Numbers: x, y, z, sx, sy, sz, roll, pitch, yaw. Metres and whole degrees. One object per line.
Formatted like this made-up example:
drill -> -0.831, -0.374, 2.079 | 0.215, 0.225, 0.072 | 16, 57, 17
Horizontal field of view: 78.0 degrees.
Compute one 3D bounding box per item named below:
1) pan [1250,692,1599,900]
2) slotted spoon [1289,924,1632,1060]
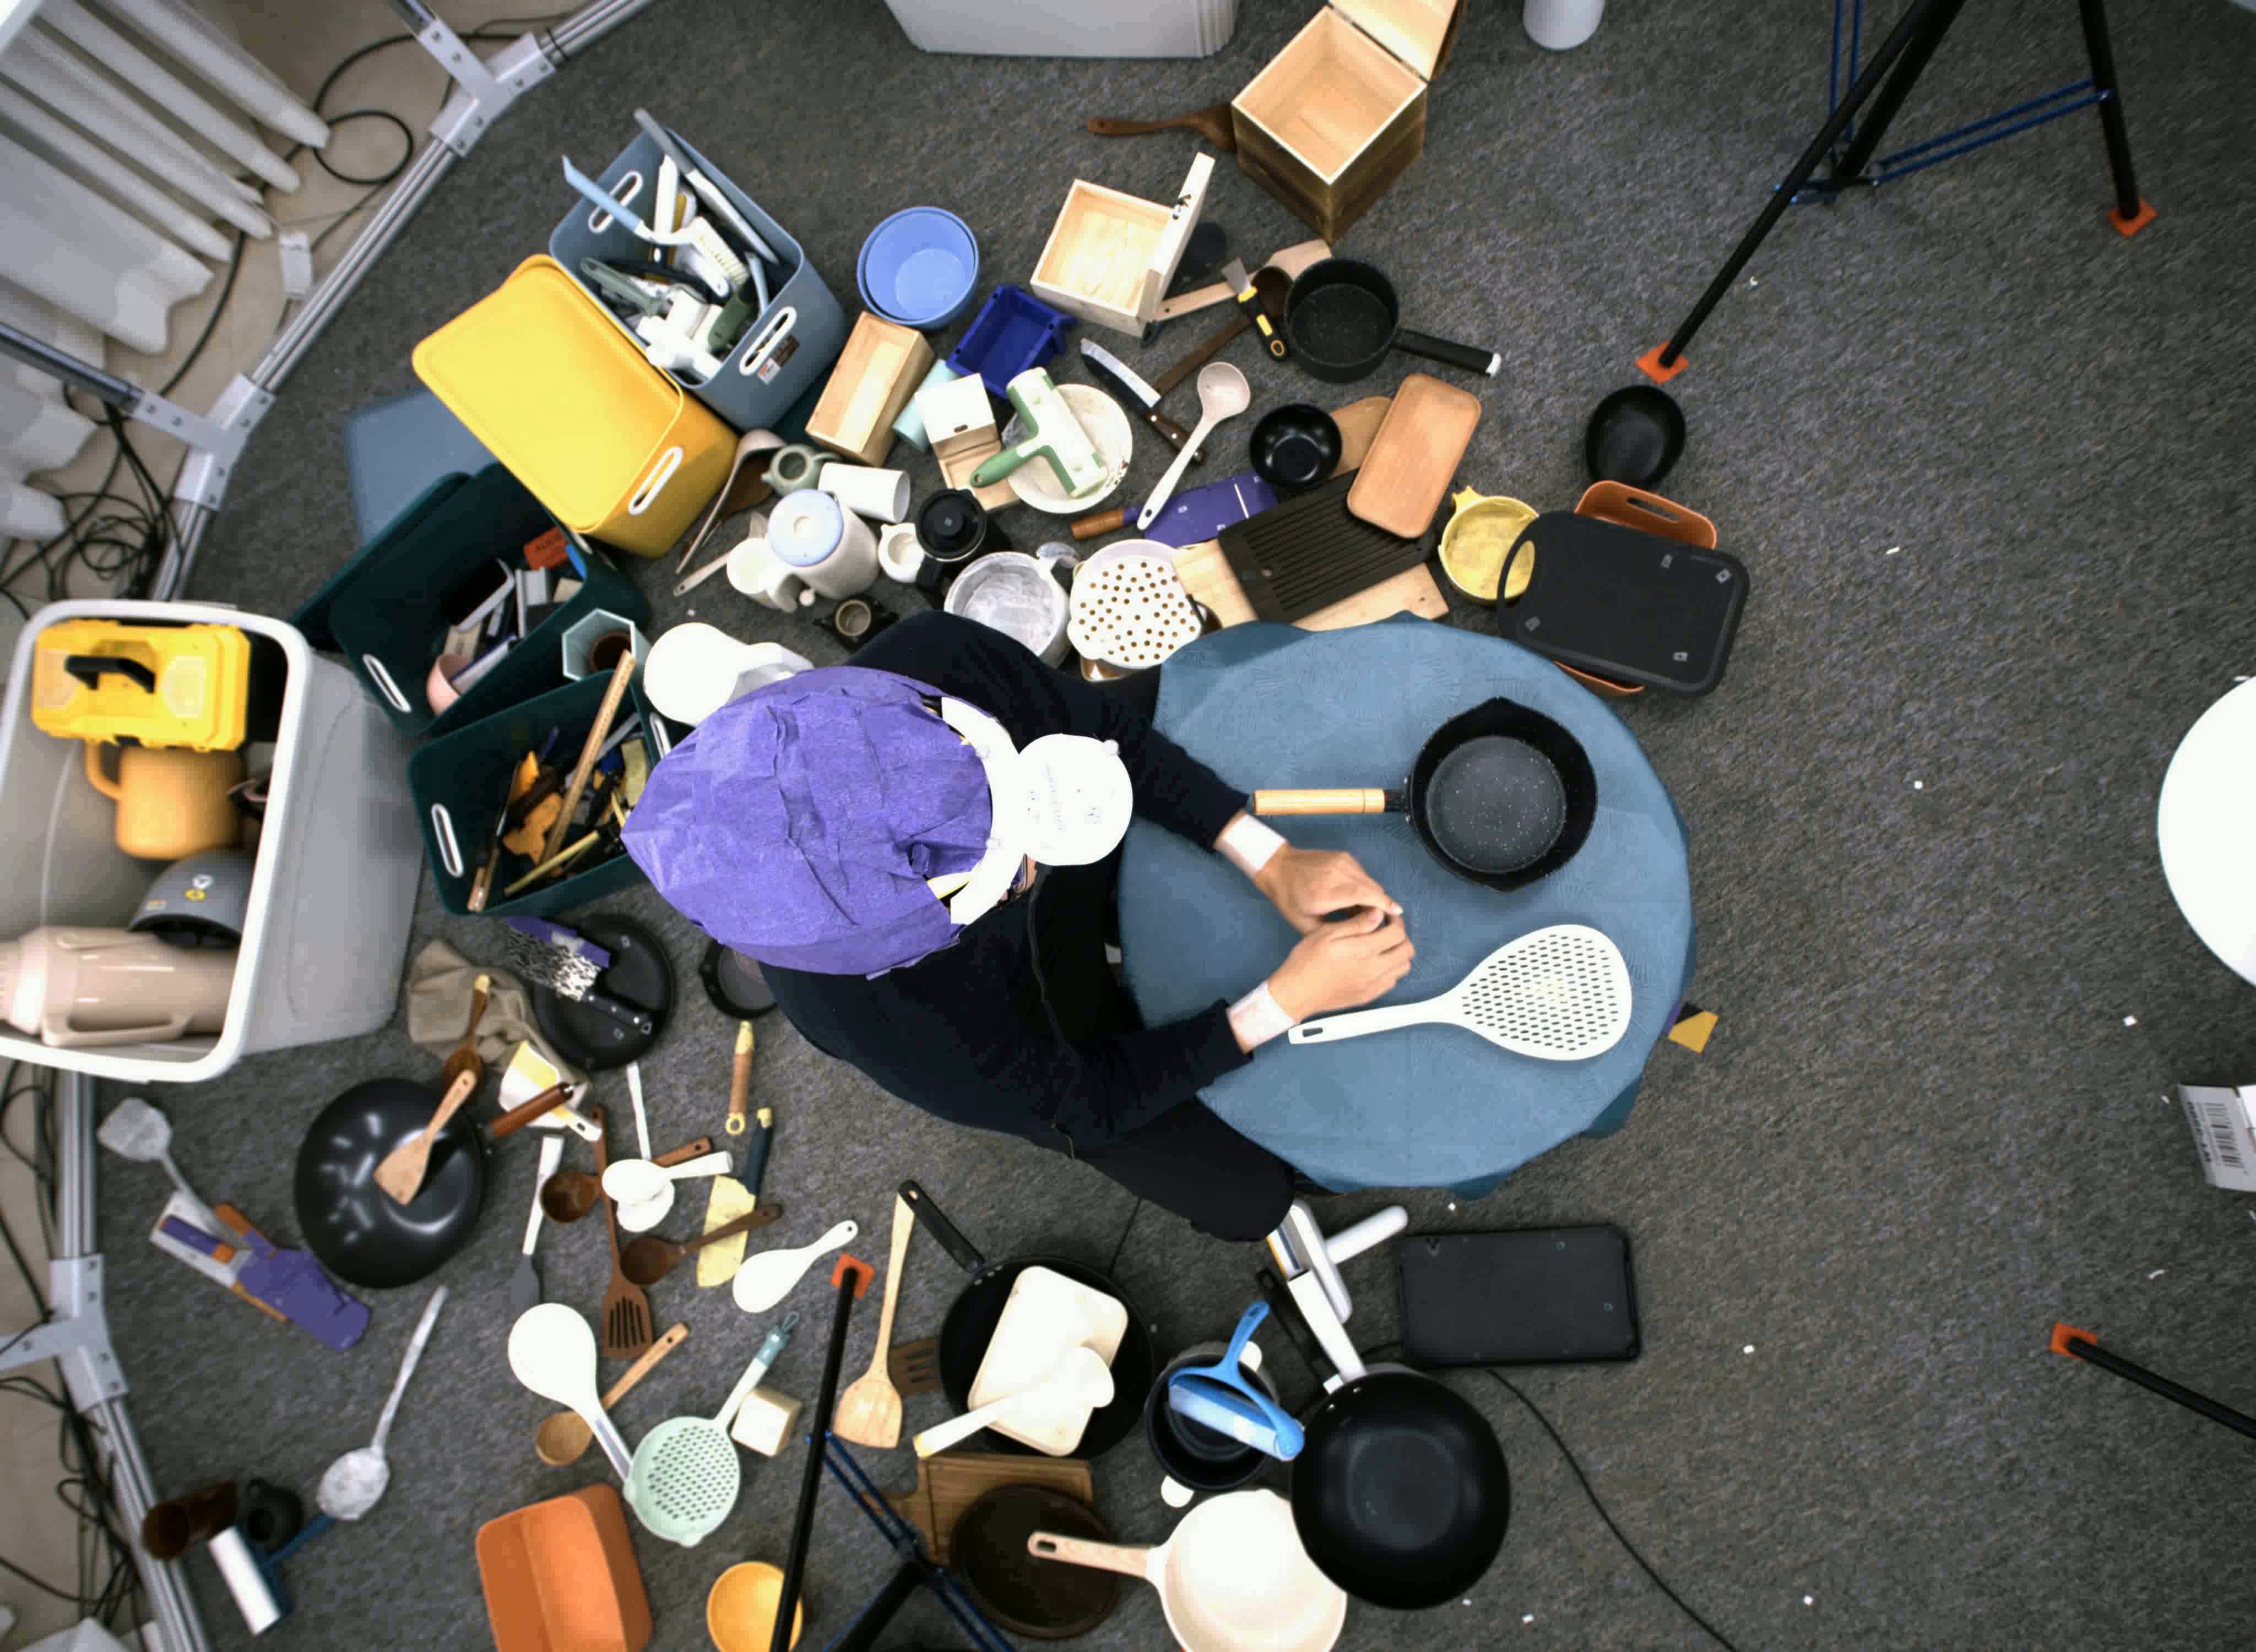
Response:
pan -> 0.299, -0.026, 1.405 | 0.344, 0.108, 0.207 | -3, 87, 9
slotted spoon -> 0.336, 0.187, 1.419 | 0.349, 0.050, 0.136 | -11, 86, 8
